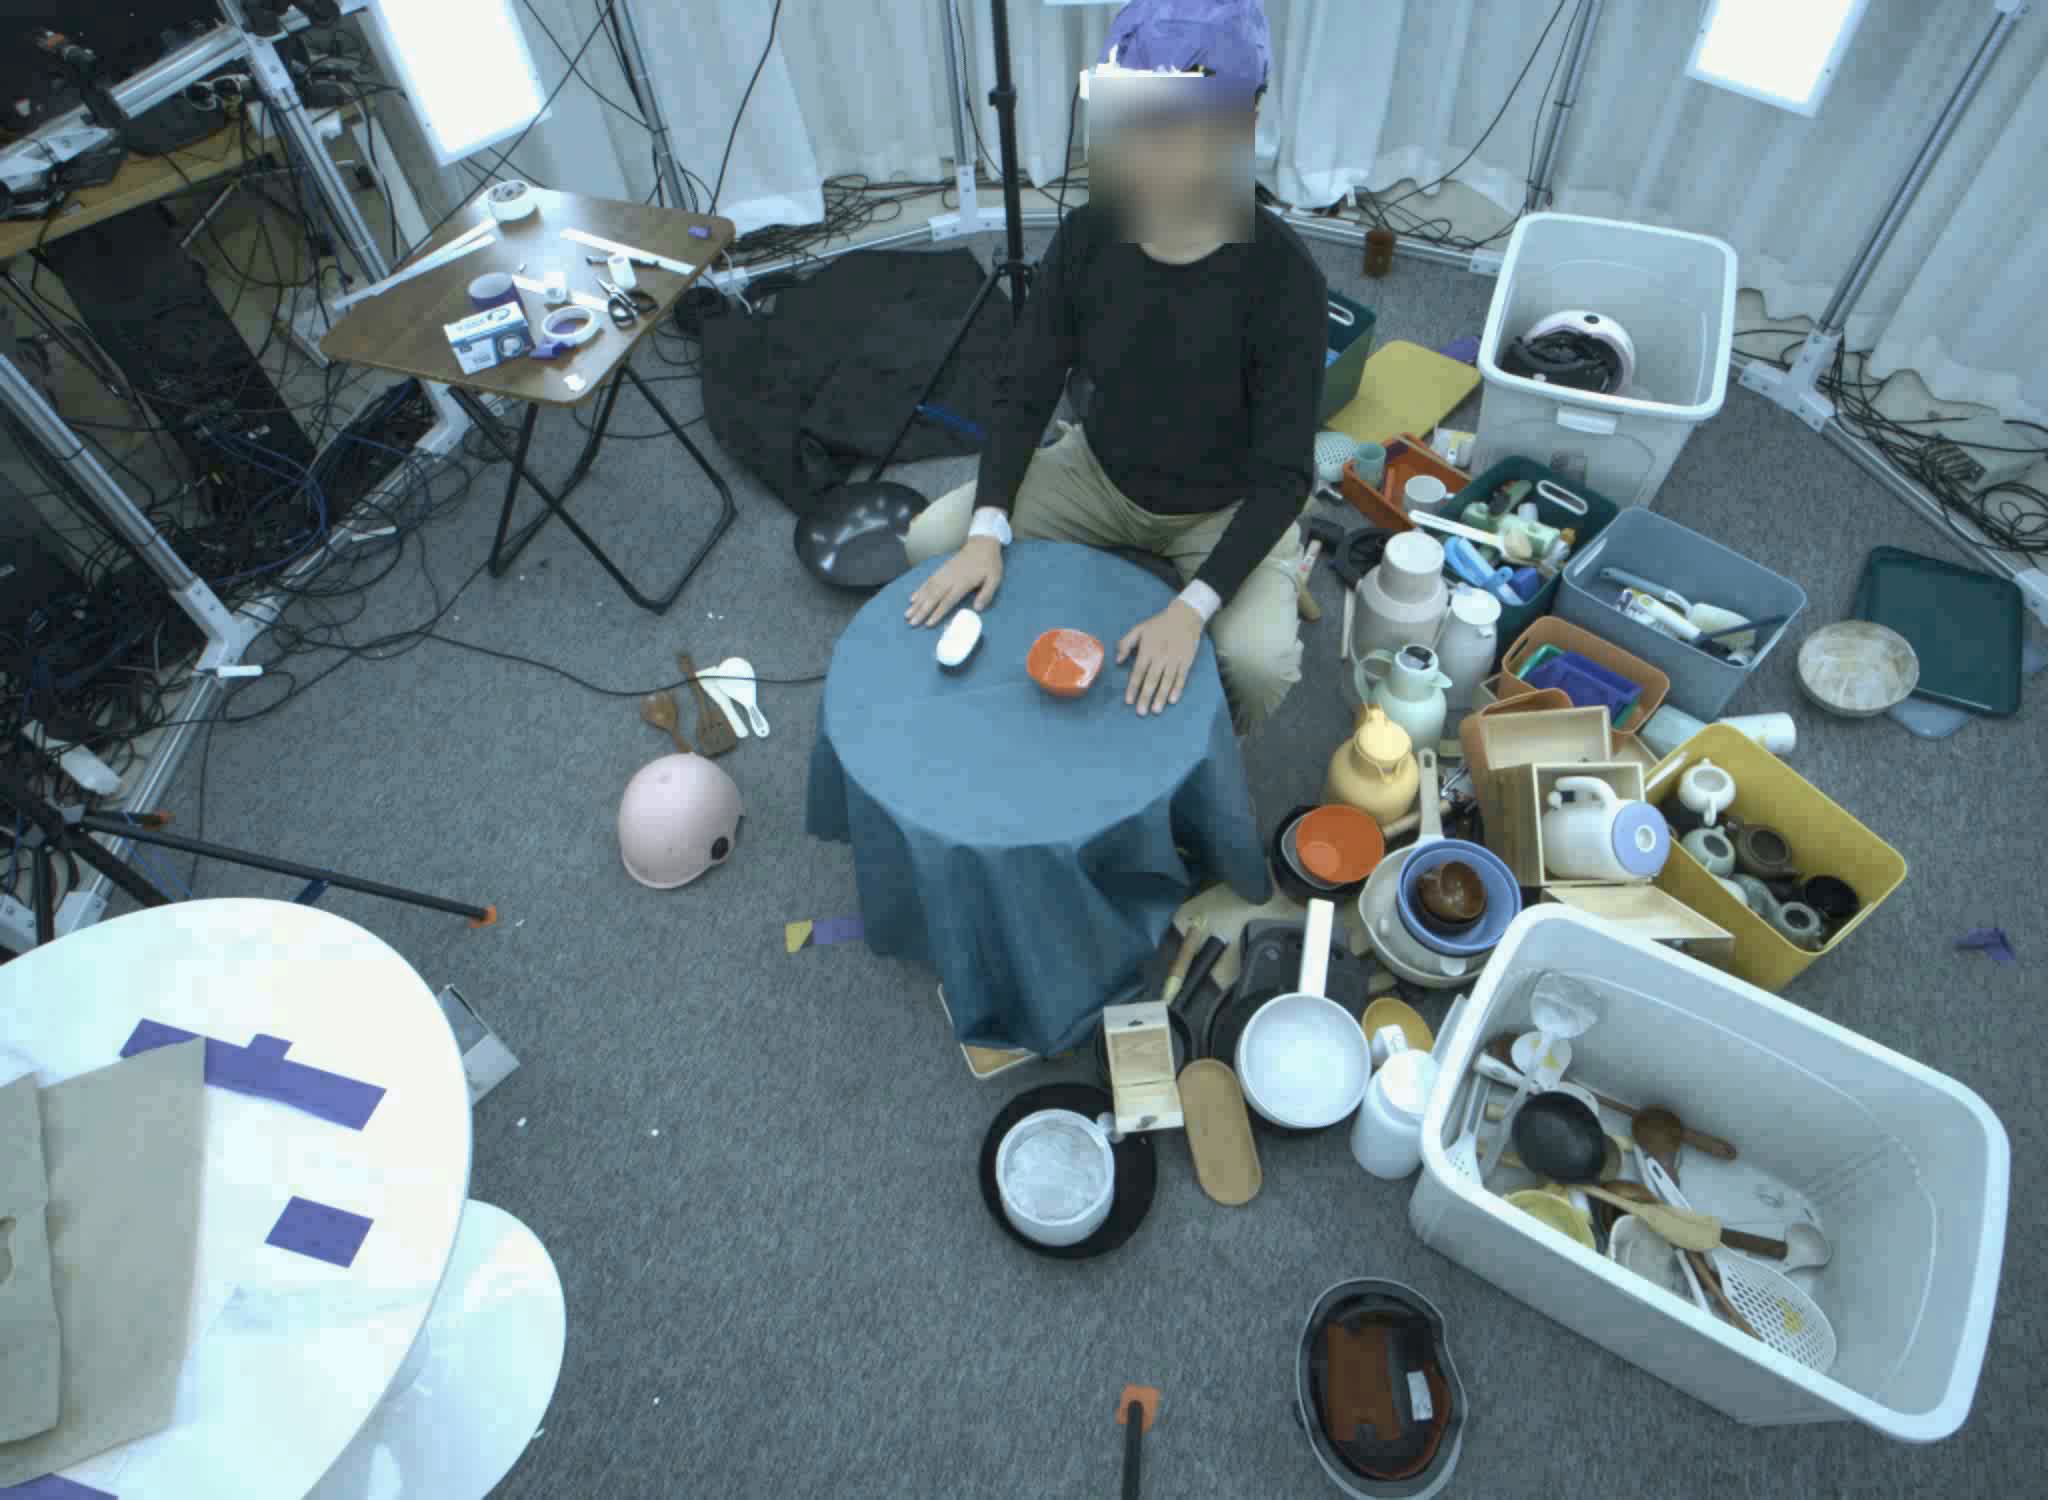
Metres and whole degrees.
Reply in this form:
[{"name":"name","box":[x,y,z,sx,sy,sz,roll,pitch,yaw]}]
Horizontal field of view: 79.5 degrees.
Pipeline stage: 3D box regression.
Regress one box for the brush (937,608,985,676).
[{"name":"brush","box":[-0.099,-0.172,1.867,0.049,0.073,0.099,21,58,18]}]

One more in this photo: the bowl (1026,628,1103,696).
[{"name":"bowl","box":[0.063,-0.124,1.841,0.118,0.052,0.118,-2,57,4]}]
